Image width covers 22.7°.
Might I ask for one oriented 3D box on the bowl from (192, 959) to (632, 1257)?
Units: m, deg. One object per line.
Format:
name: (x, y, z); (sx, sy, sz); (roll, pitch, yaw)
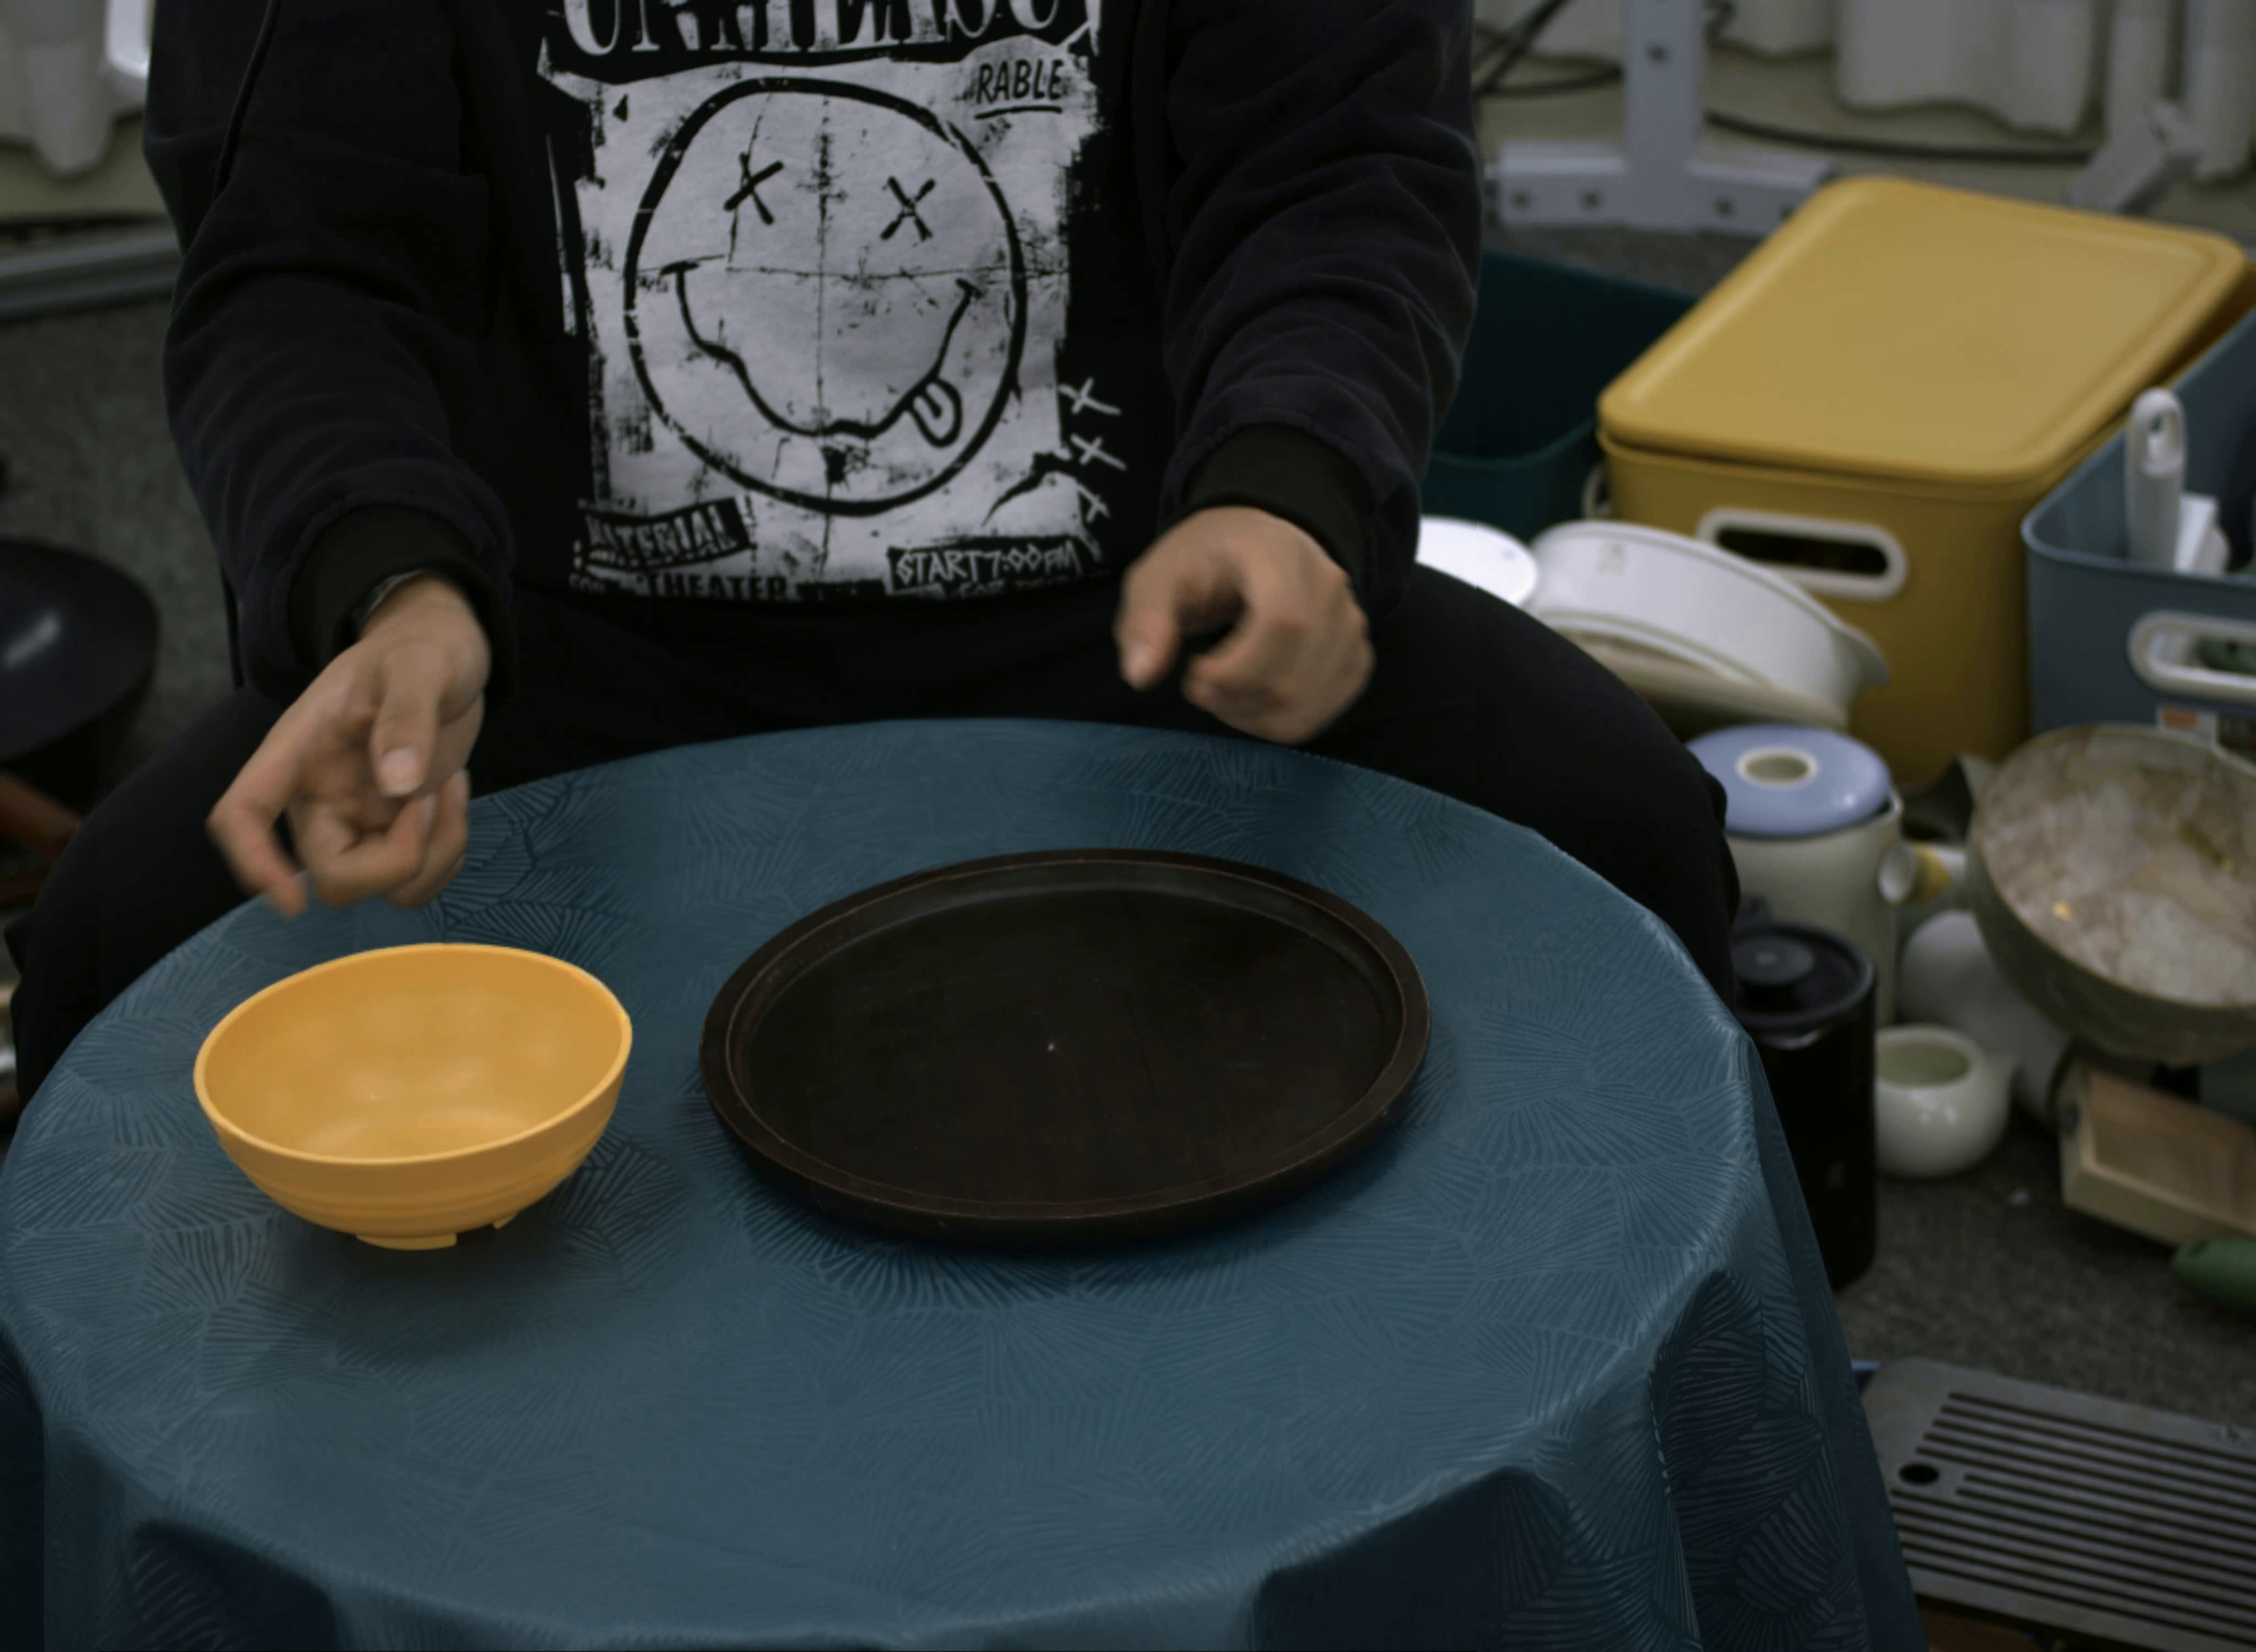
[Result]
bowl: (-0.235, 0.102, 1.863); (0.144, 0.059, 0.147); (-1, 24, 1)

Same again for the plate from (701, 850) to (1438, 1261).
plate: (-0.020, 0.077, 1.926); (0.253, 0.029, 0.258); (-4, 27, 2)
